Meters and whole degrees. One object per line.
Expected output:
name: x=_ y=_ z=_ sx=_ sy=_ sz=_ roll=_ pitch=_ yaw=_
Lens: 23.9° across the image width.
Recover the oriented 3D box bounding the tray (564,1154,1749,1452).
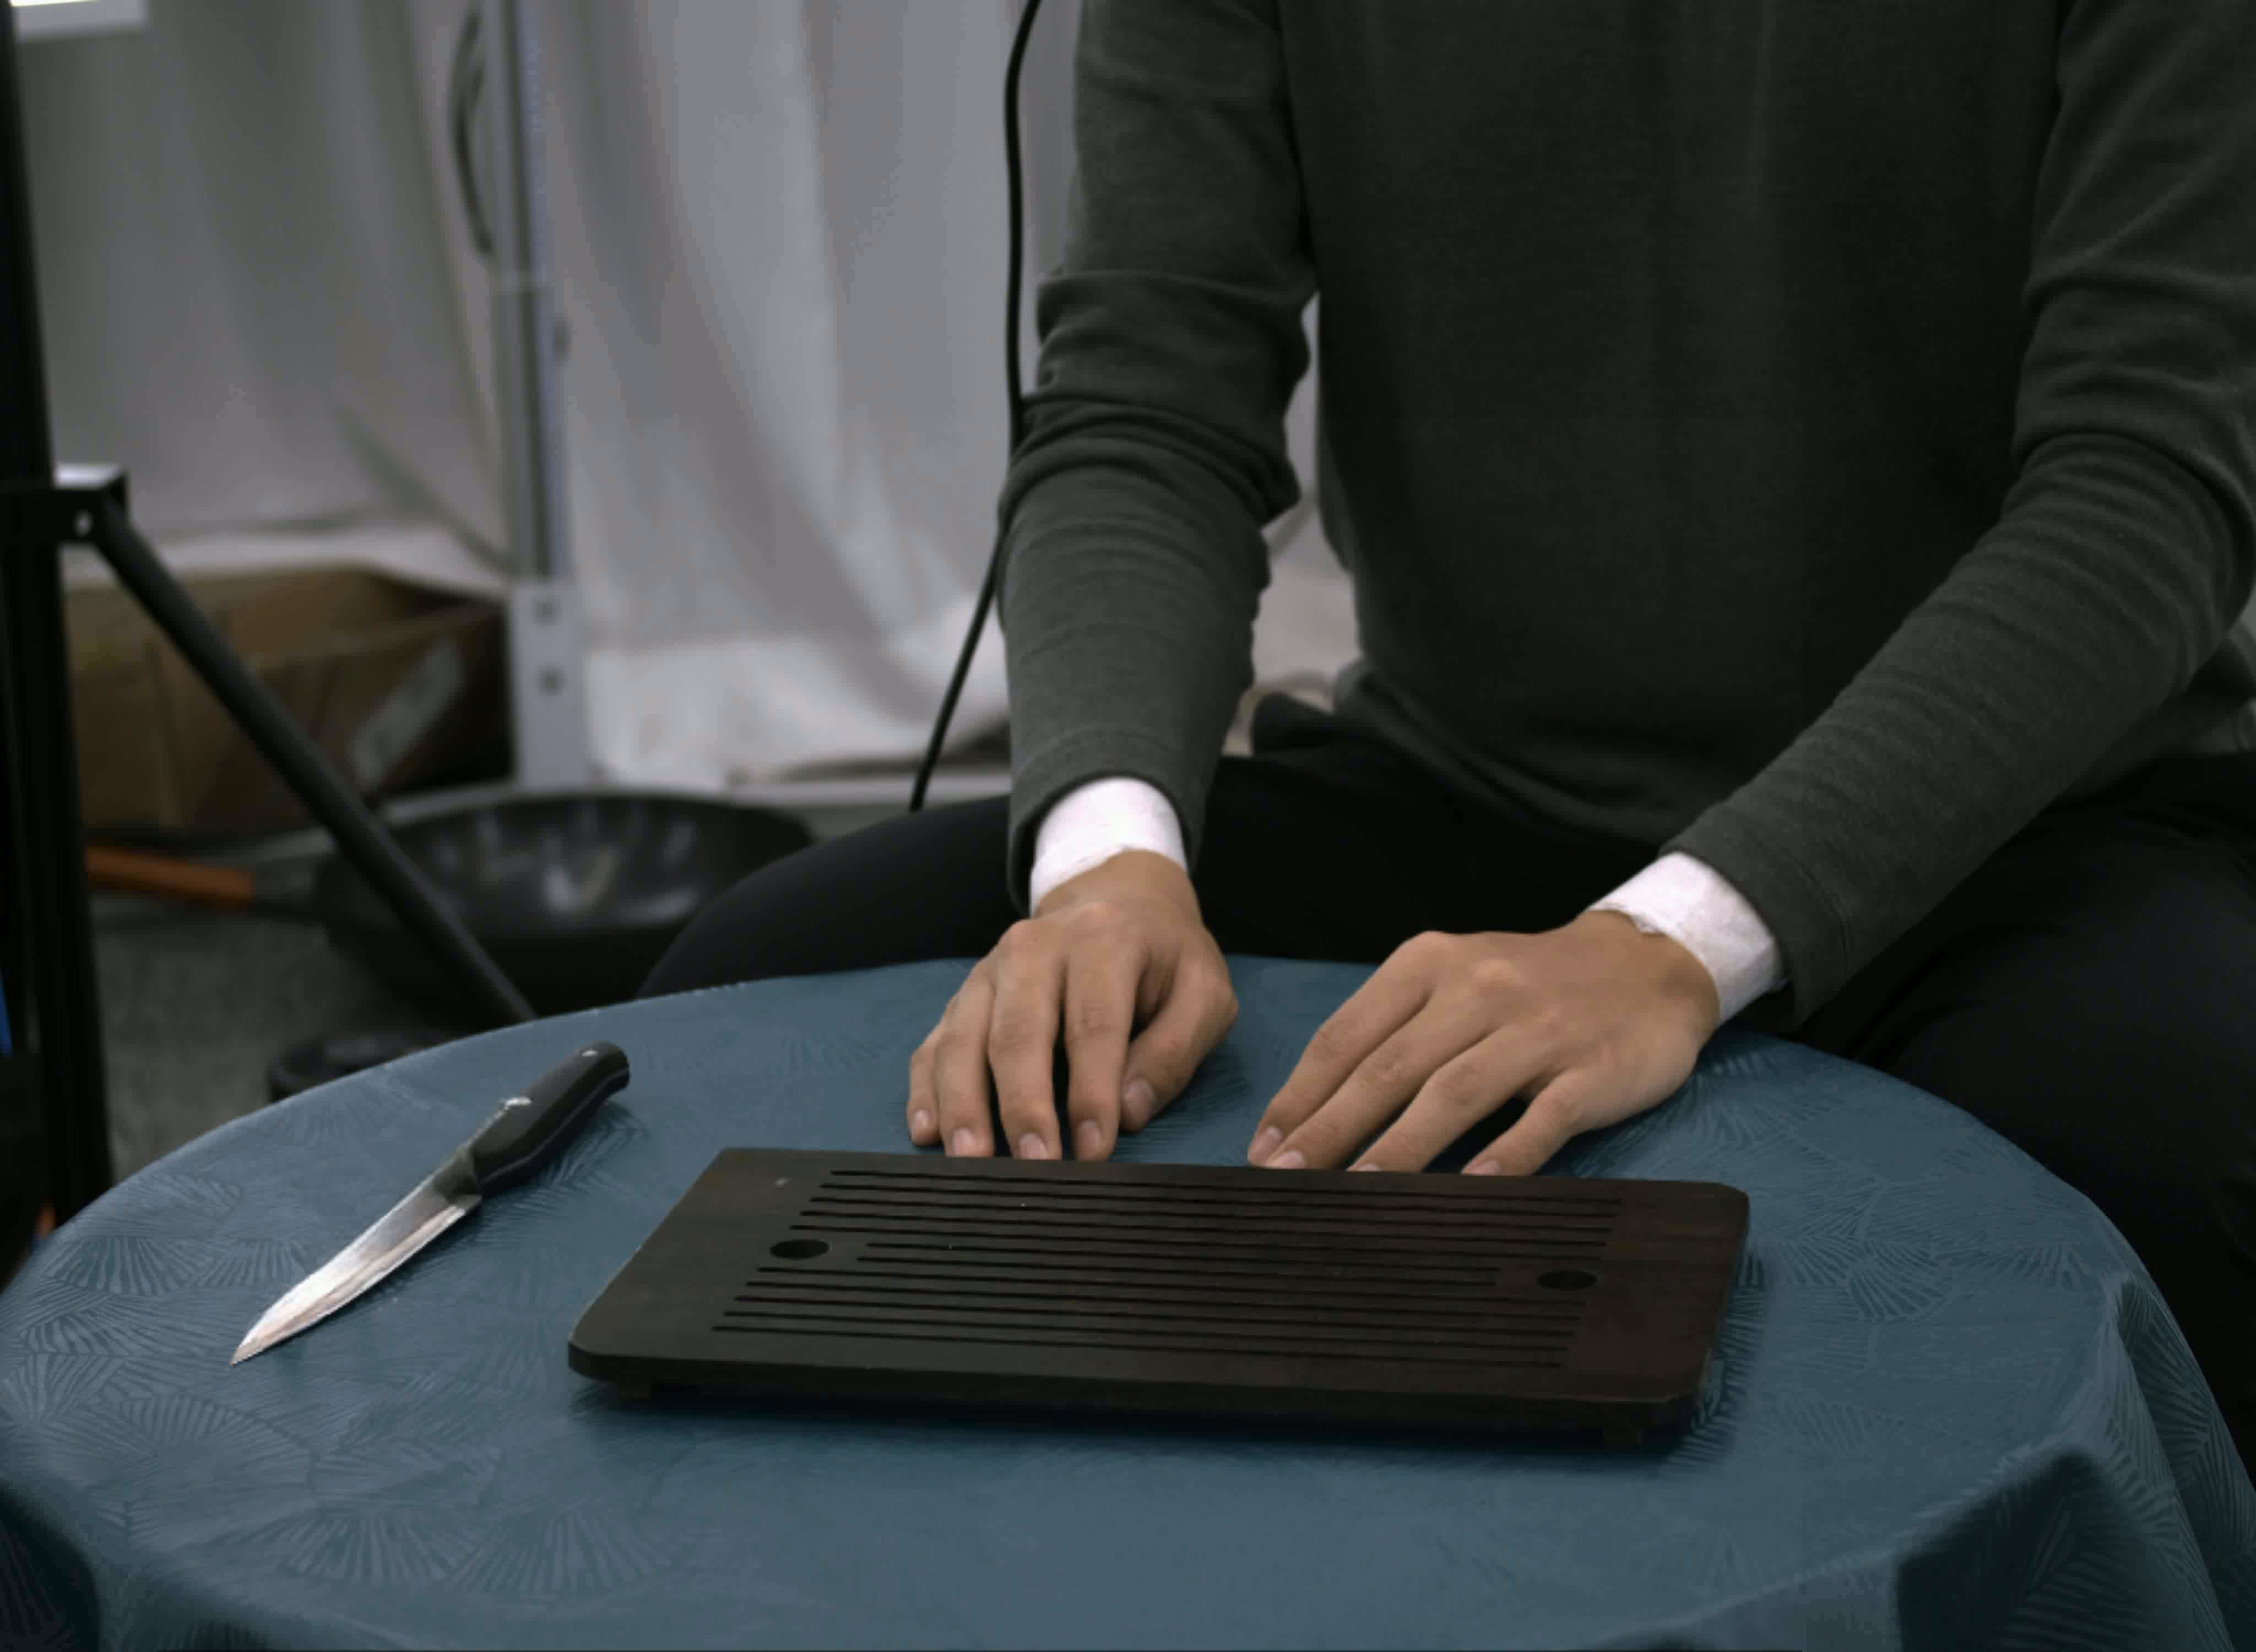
tray: x=0.012 y=0.129 z=1.453 sx=0.308 sy=0.018 sz=0.169 roll=2 pitch=16 yaw=13

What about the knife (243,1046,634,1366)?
knife: x=-0.203 y=0.111 z=1.563 sx=0.025 sy=0.016 sz=0.235 roll=1 pitch=19 yaw=21
